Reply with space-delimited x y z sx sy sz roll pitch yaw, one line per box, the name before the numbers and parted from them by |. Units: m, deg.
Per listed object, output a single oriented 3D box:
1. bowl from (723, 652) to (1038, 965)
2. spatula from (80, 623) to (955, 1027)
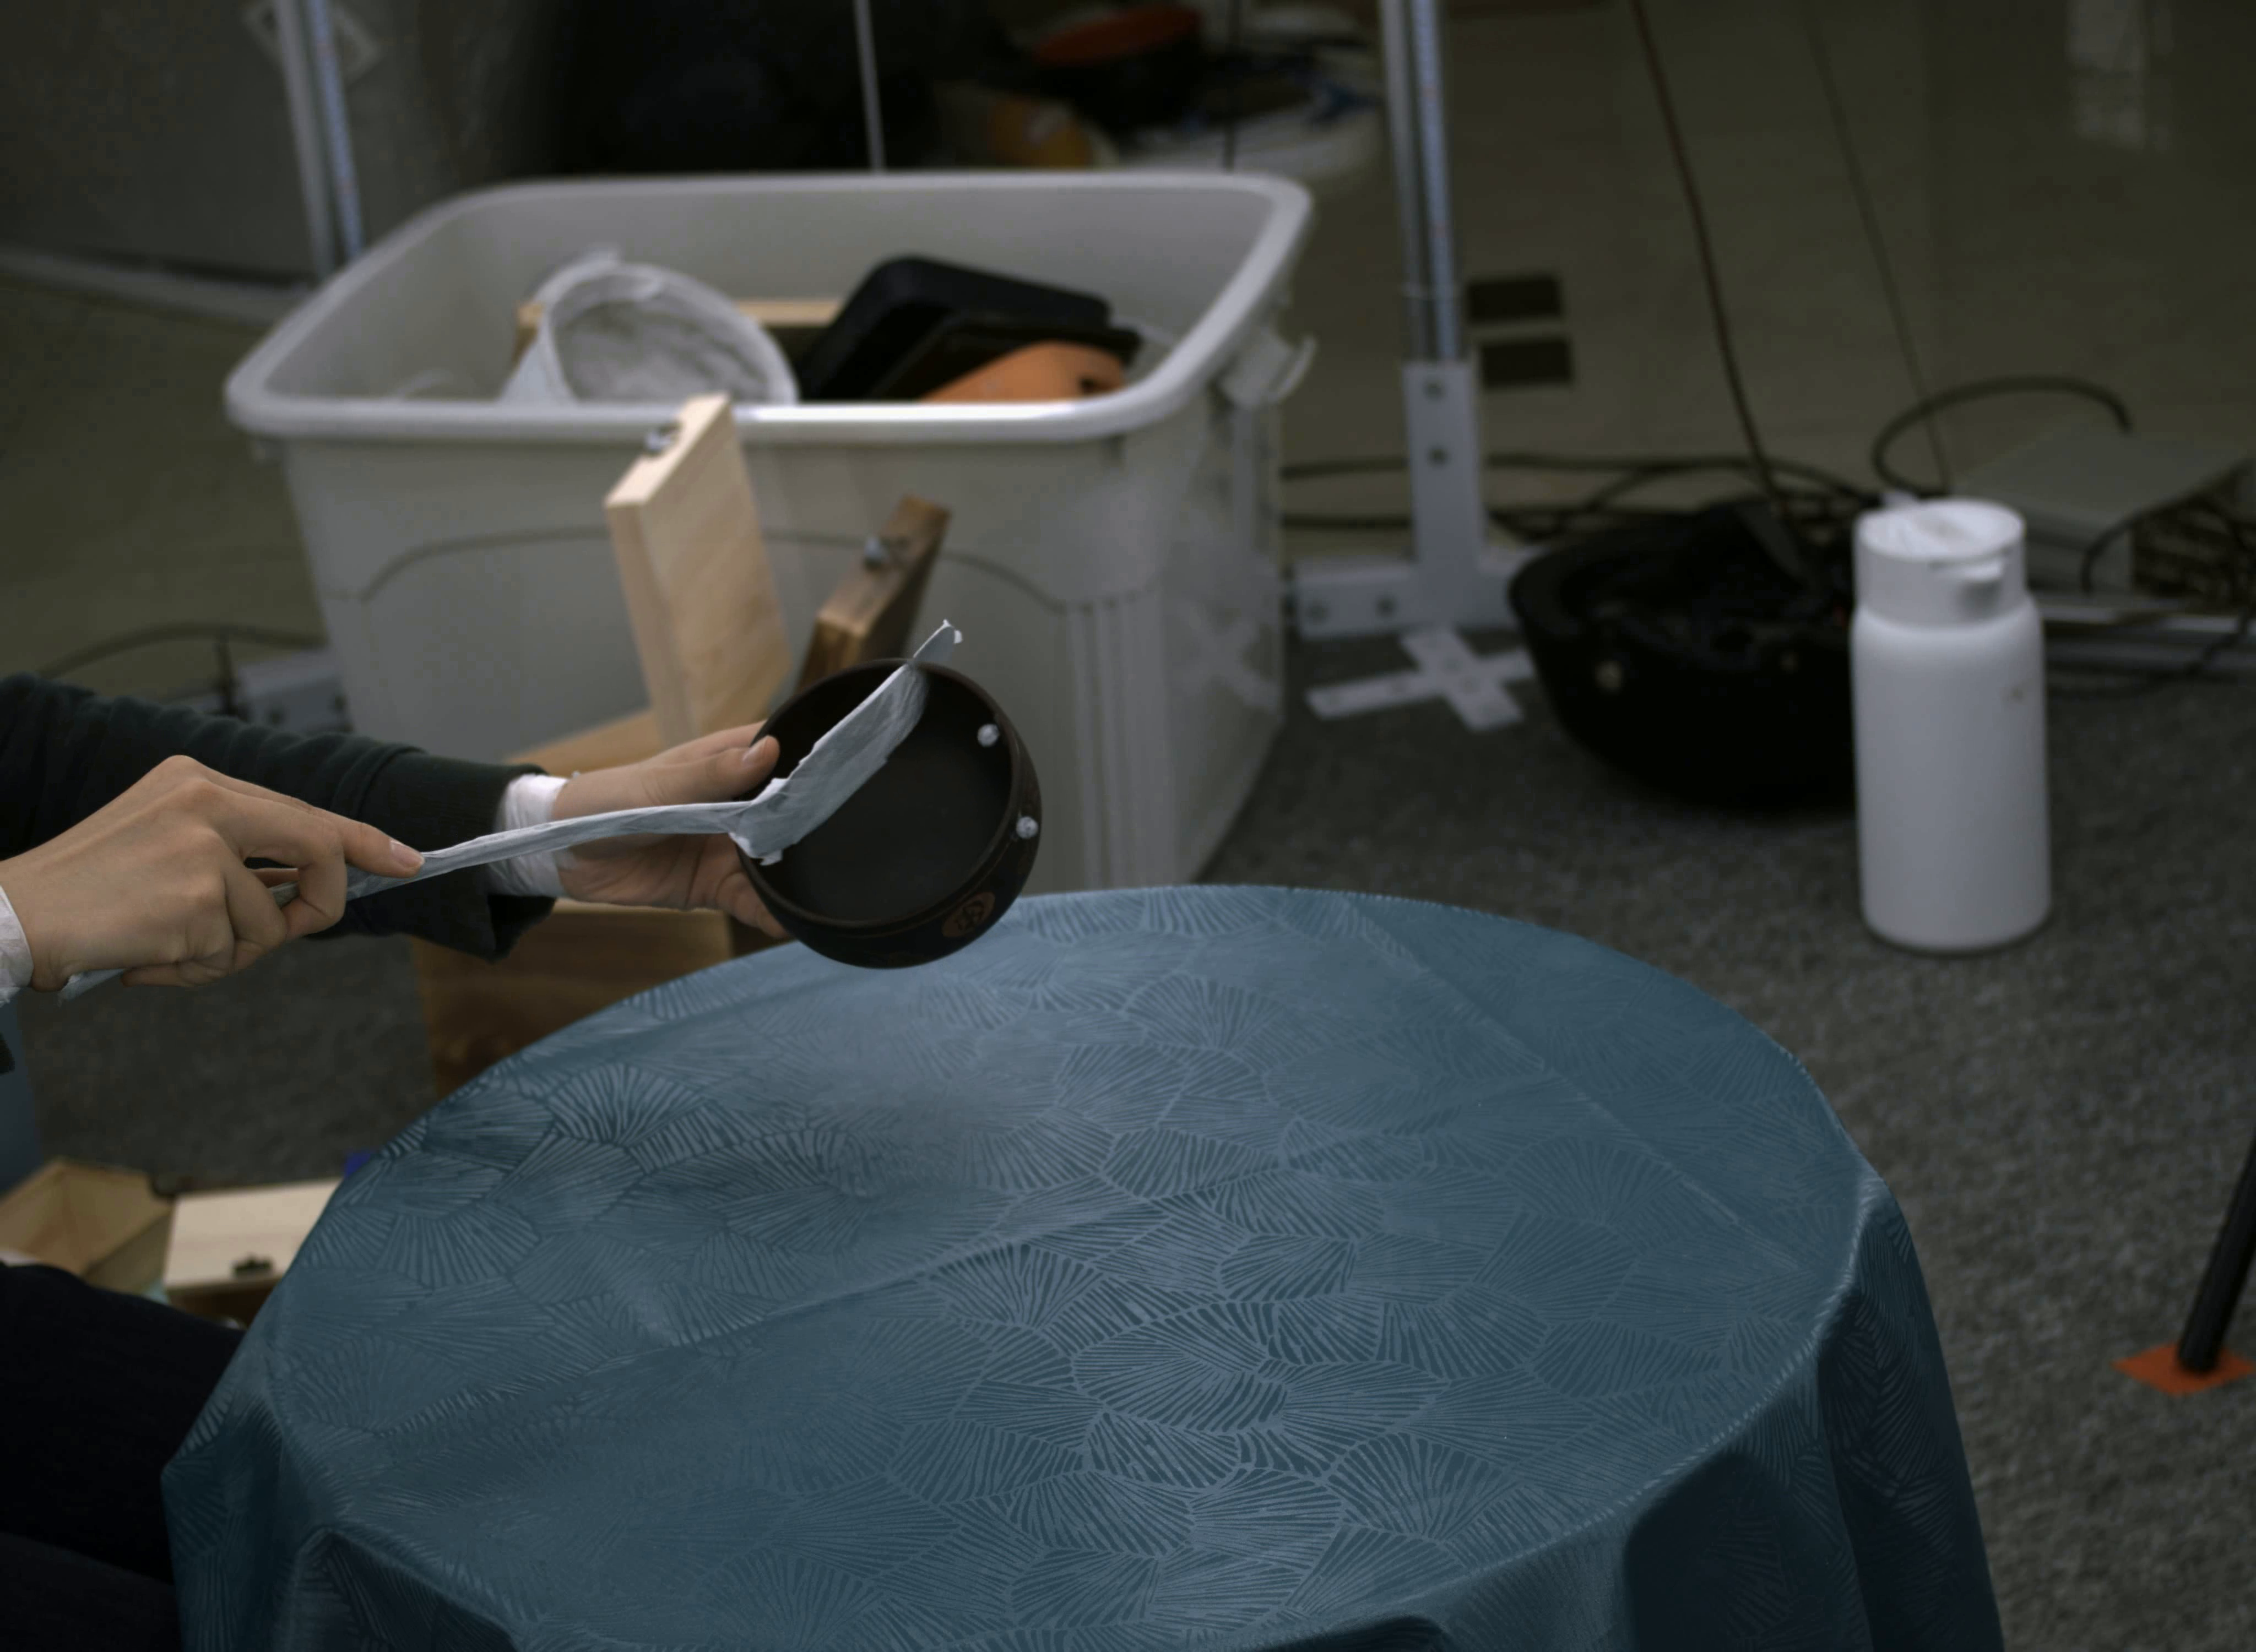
bowl | -0.089 0.000 2.155 0.118 0.071 0.116 -7 61 13
spatula | -0.207 0.004 1.968 0.363 0.100 0.044 -15 65 -34
